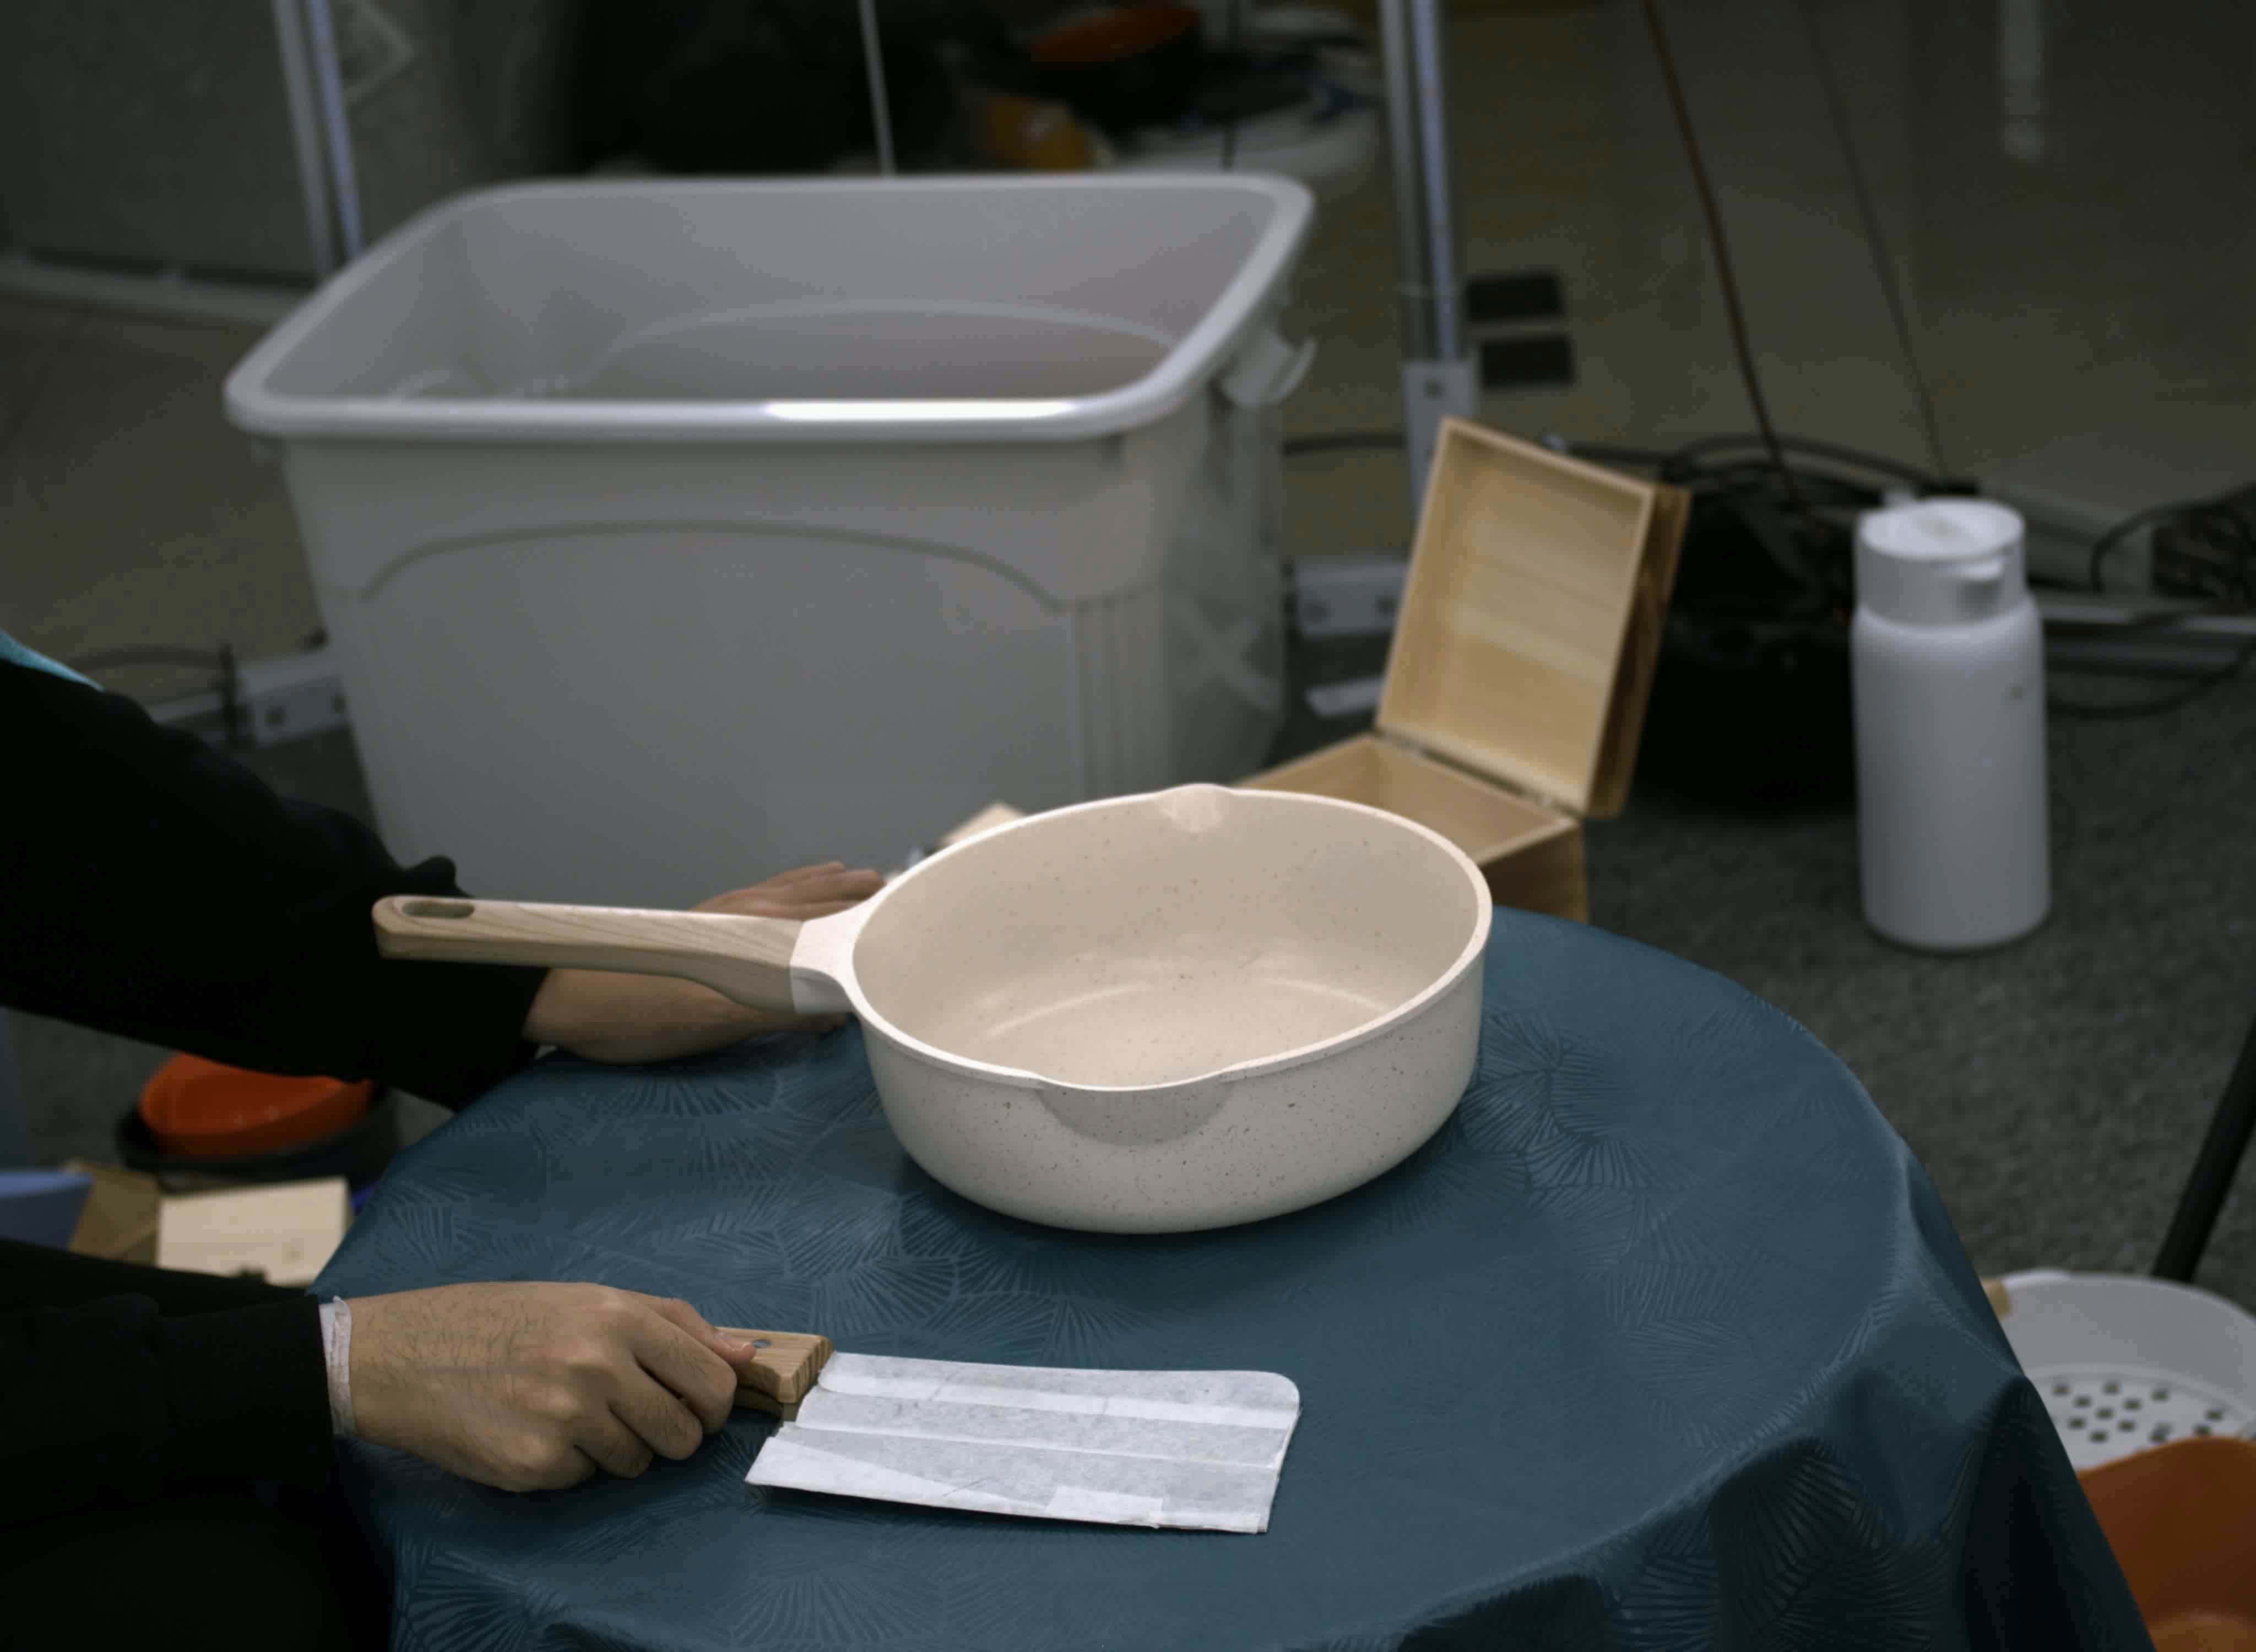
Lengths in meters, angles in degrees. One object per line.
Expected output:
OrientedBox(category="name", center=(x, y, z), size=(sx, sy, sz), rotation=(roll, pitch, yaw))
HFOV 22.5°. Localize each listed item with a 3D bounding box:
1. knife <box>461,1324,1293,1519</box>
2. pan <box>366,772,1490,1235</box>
OrientedBox(category="knife", center=(-0.090, 0.206, 2.004), size=(0.314, 0.022, 0.112), rotation=(5, 28, 18))
OrientedBox(category="pan", center=(-0.074, 0.071, 2.192), size=(0.434, 0.104, 0.259), rotation=(-3, 28, 7))
